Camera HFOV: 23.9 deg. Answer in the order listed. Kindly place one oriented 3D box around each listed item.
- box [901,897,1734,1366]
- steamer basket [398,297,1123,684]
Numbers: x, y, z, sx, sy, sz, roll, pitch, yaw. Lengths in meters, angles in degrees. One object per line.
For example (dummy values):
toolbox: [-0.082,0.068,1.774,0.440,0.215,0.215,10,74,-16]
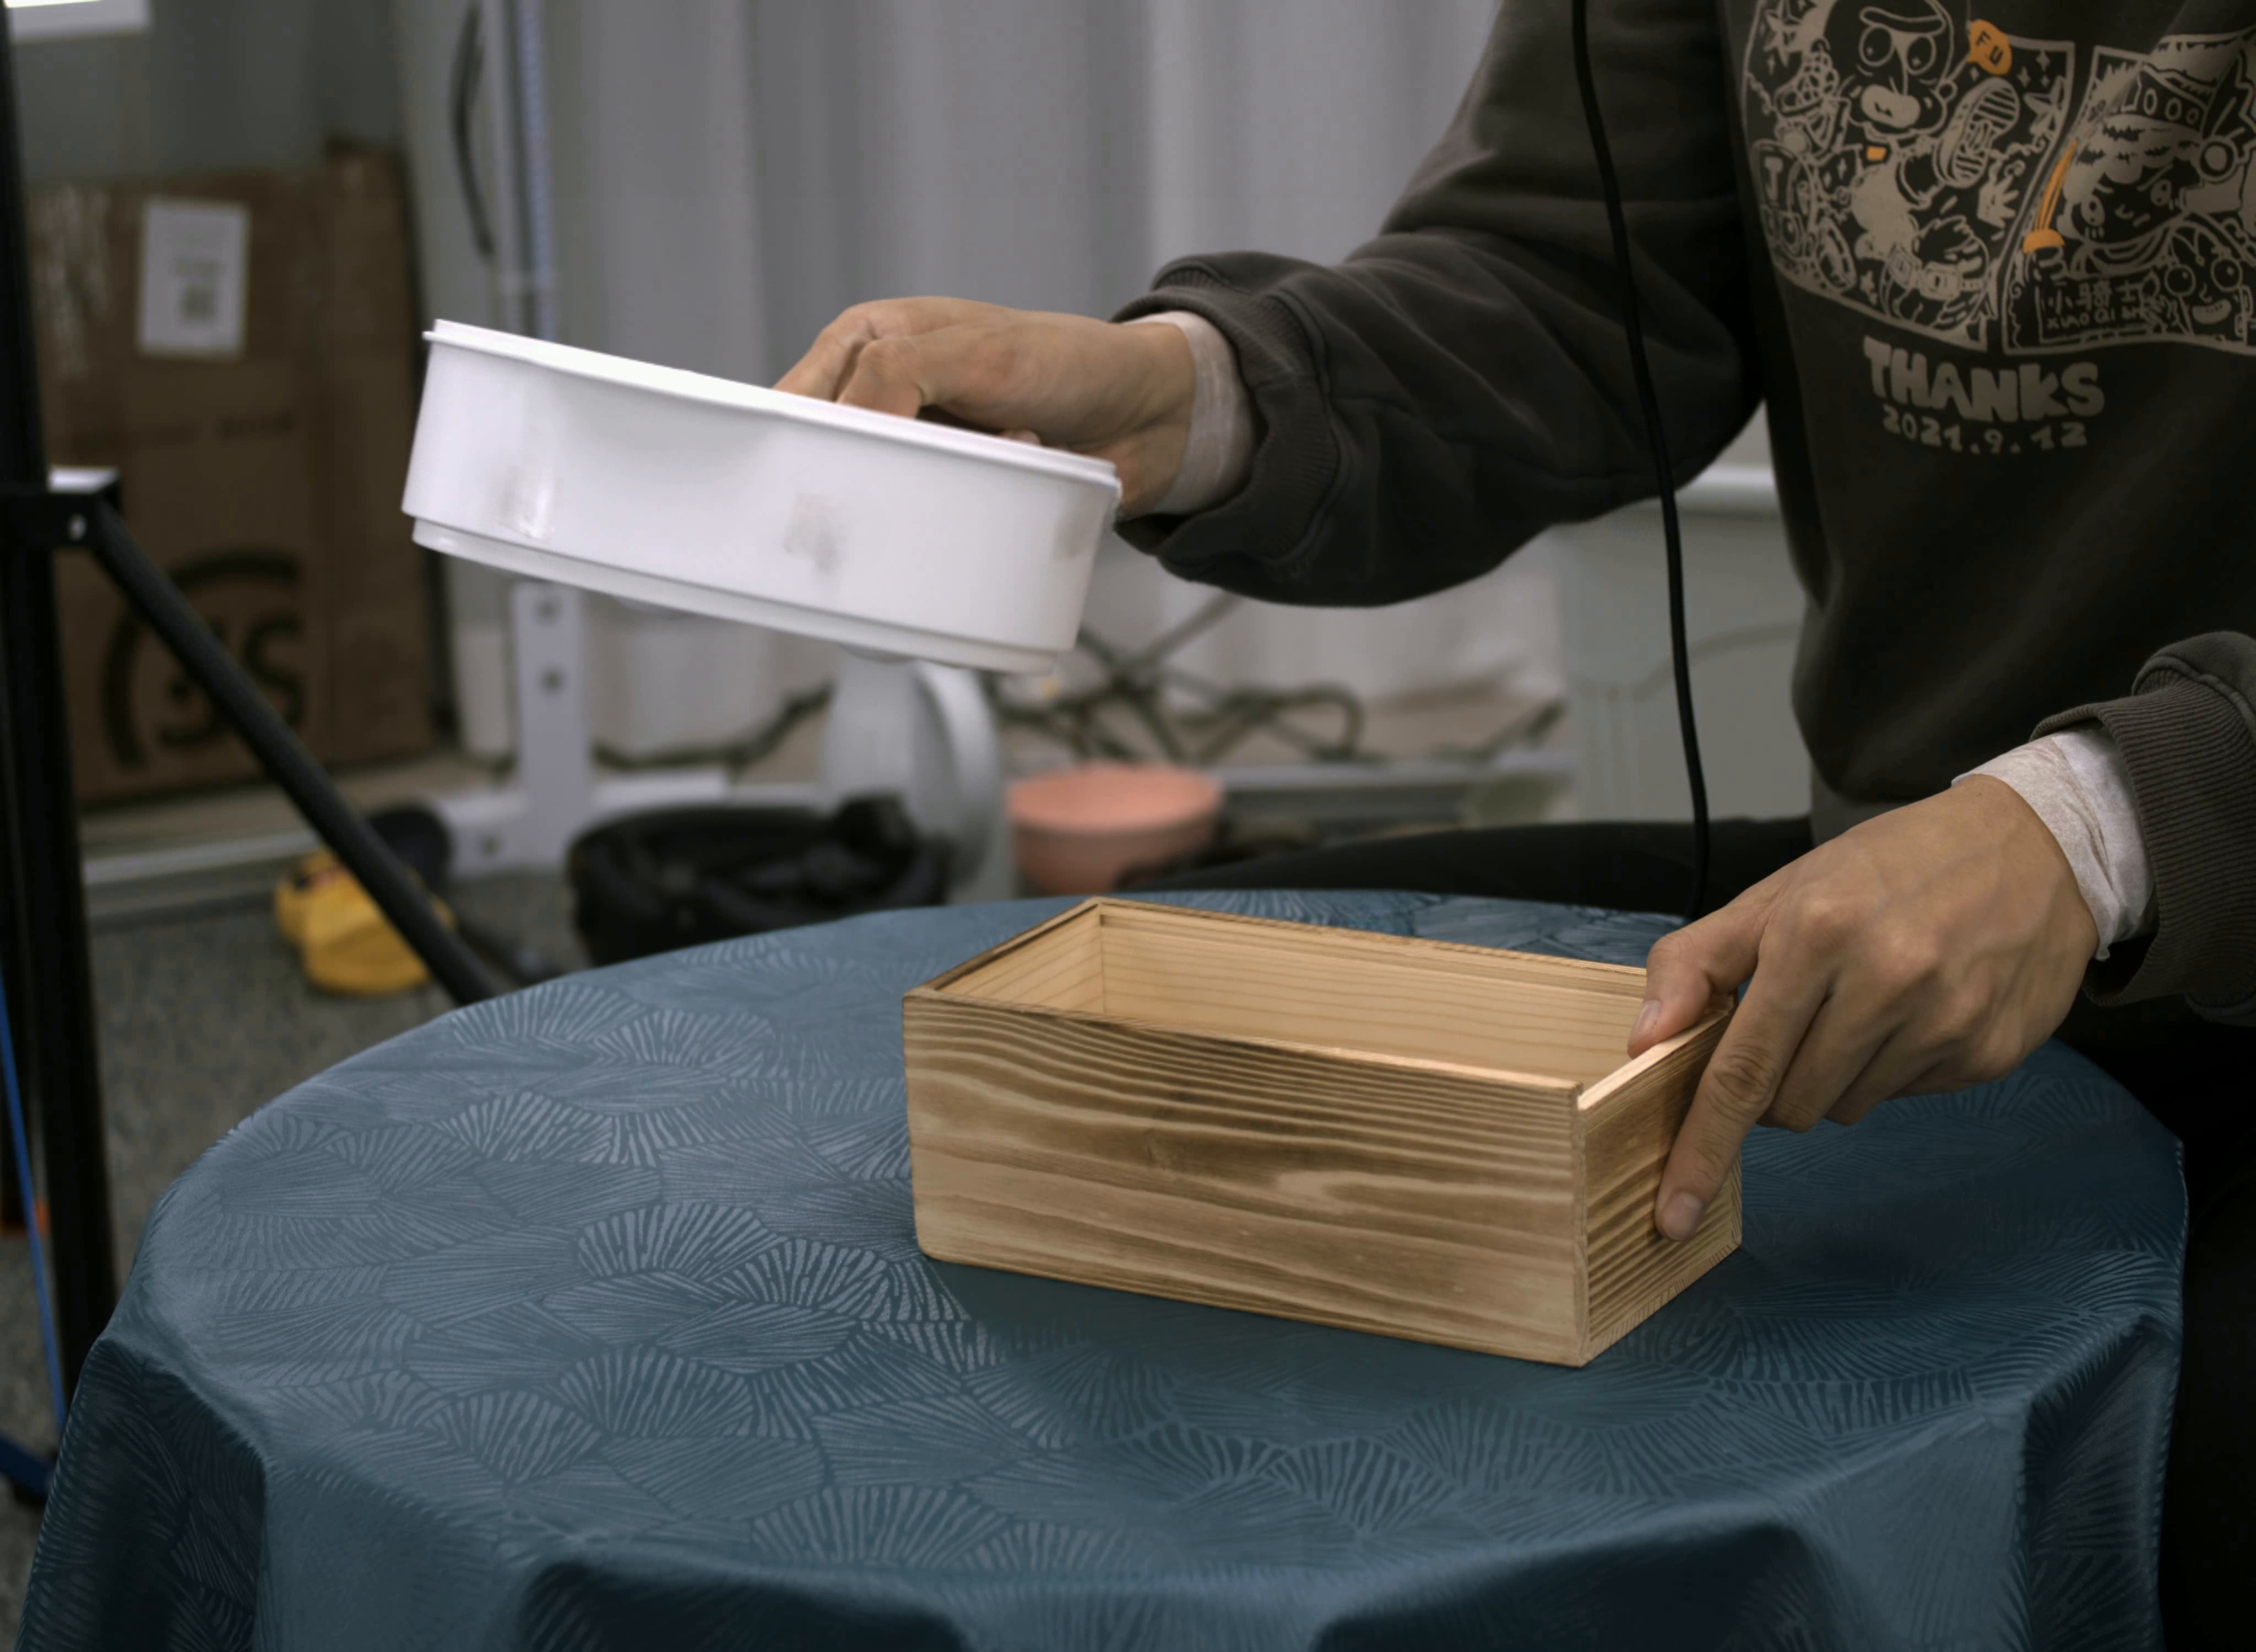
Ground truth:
box: [0.053,0.083,1.496,0.215,0.080,0.105,7,17,31]
steamer basket: [-0.105,-0.091,1.503,0.204,0.069,0.227,15,3,16]
